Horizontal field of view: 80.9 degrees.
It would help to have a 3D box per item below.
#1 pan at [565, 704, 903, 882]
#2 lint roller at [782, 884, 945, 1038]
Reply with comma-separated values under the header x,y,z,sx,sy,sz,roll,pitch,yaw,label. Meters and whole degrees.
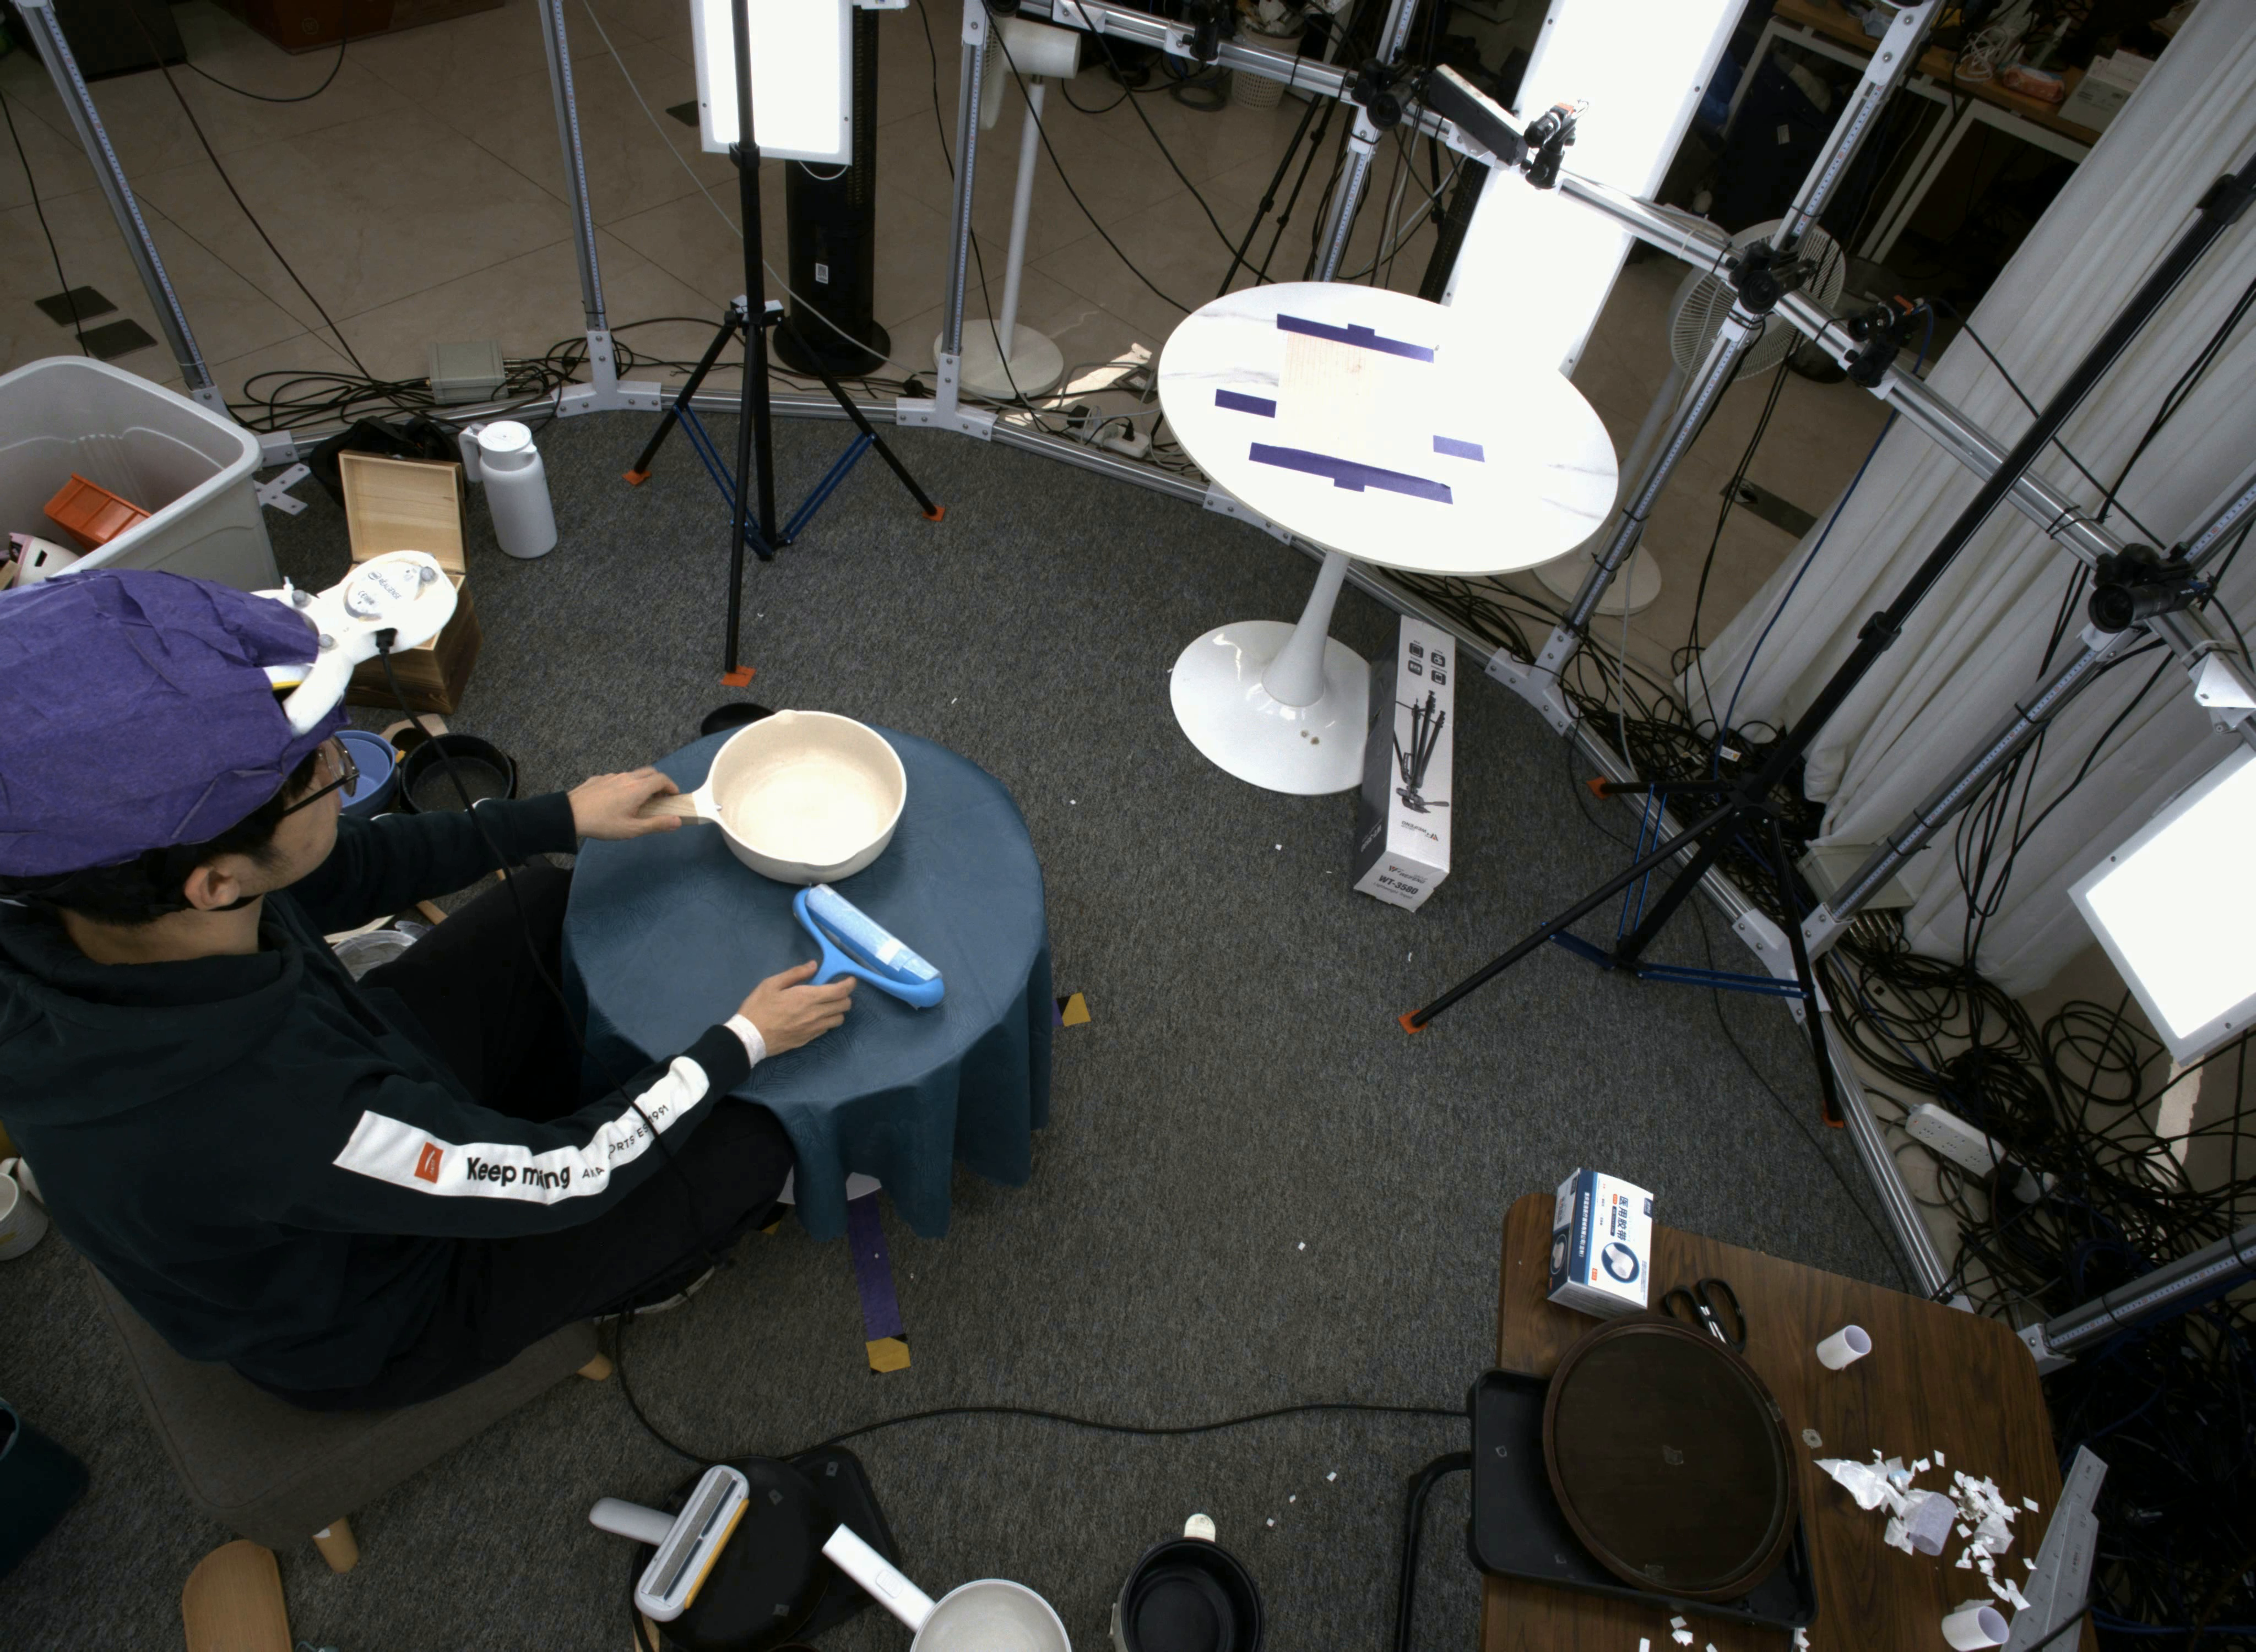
x,y,z,sx,sy,sz,roll,pitch,yaw,label
-0.504,-0.021,1.660,0.437,0.104,0.257,-14,60,-23,pan
-0.352,0.179,1.580,0.225,0.069,0.180,34,52,9,lint roller
